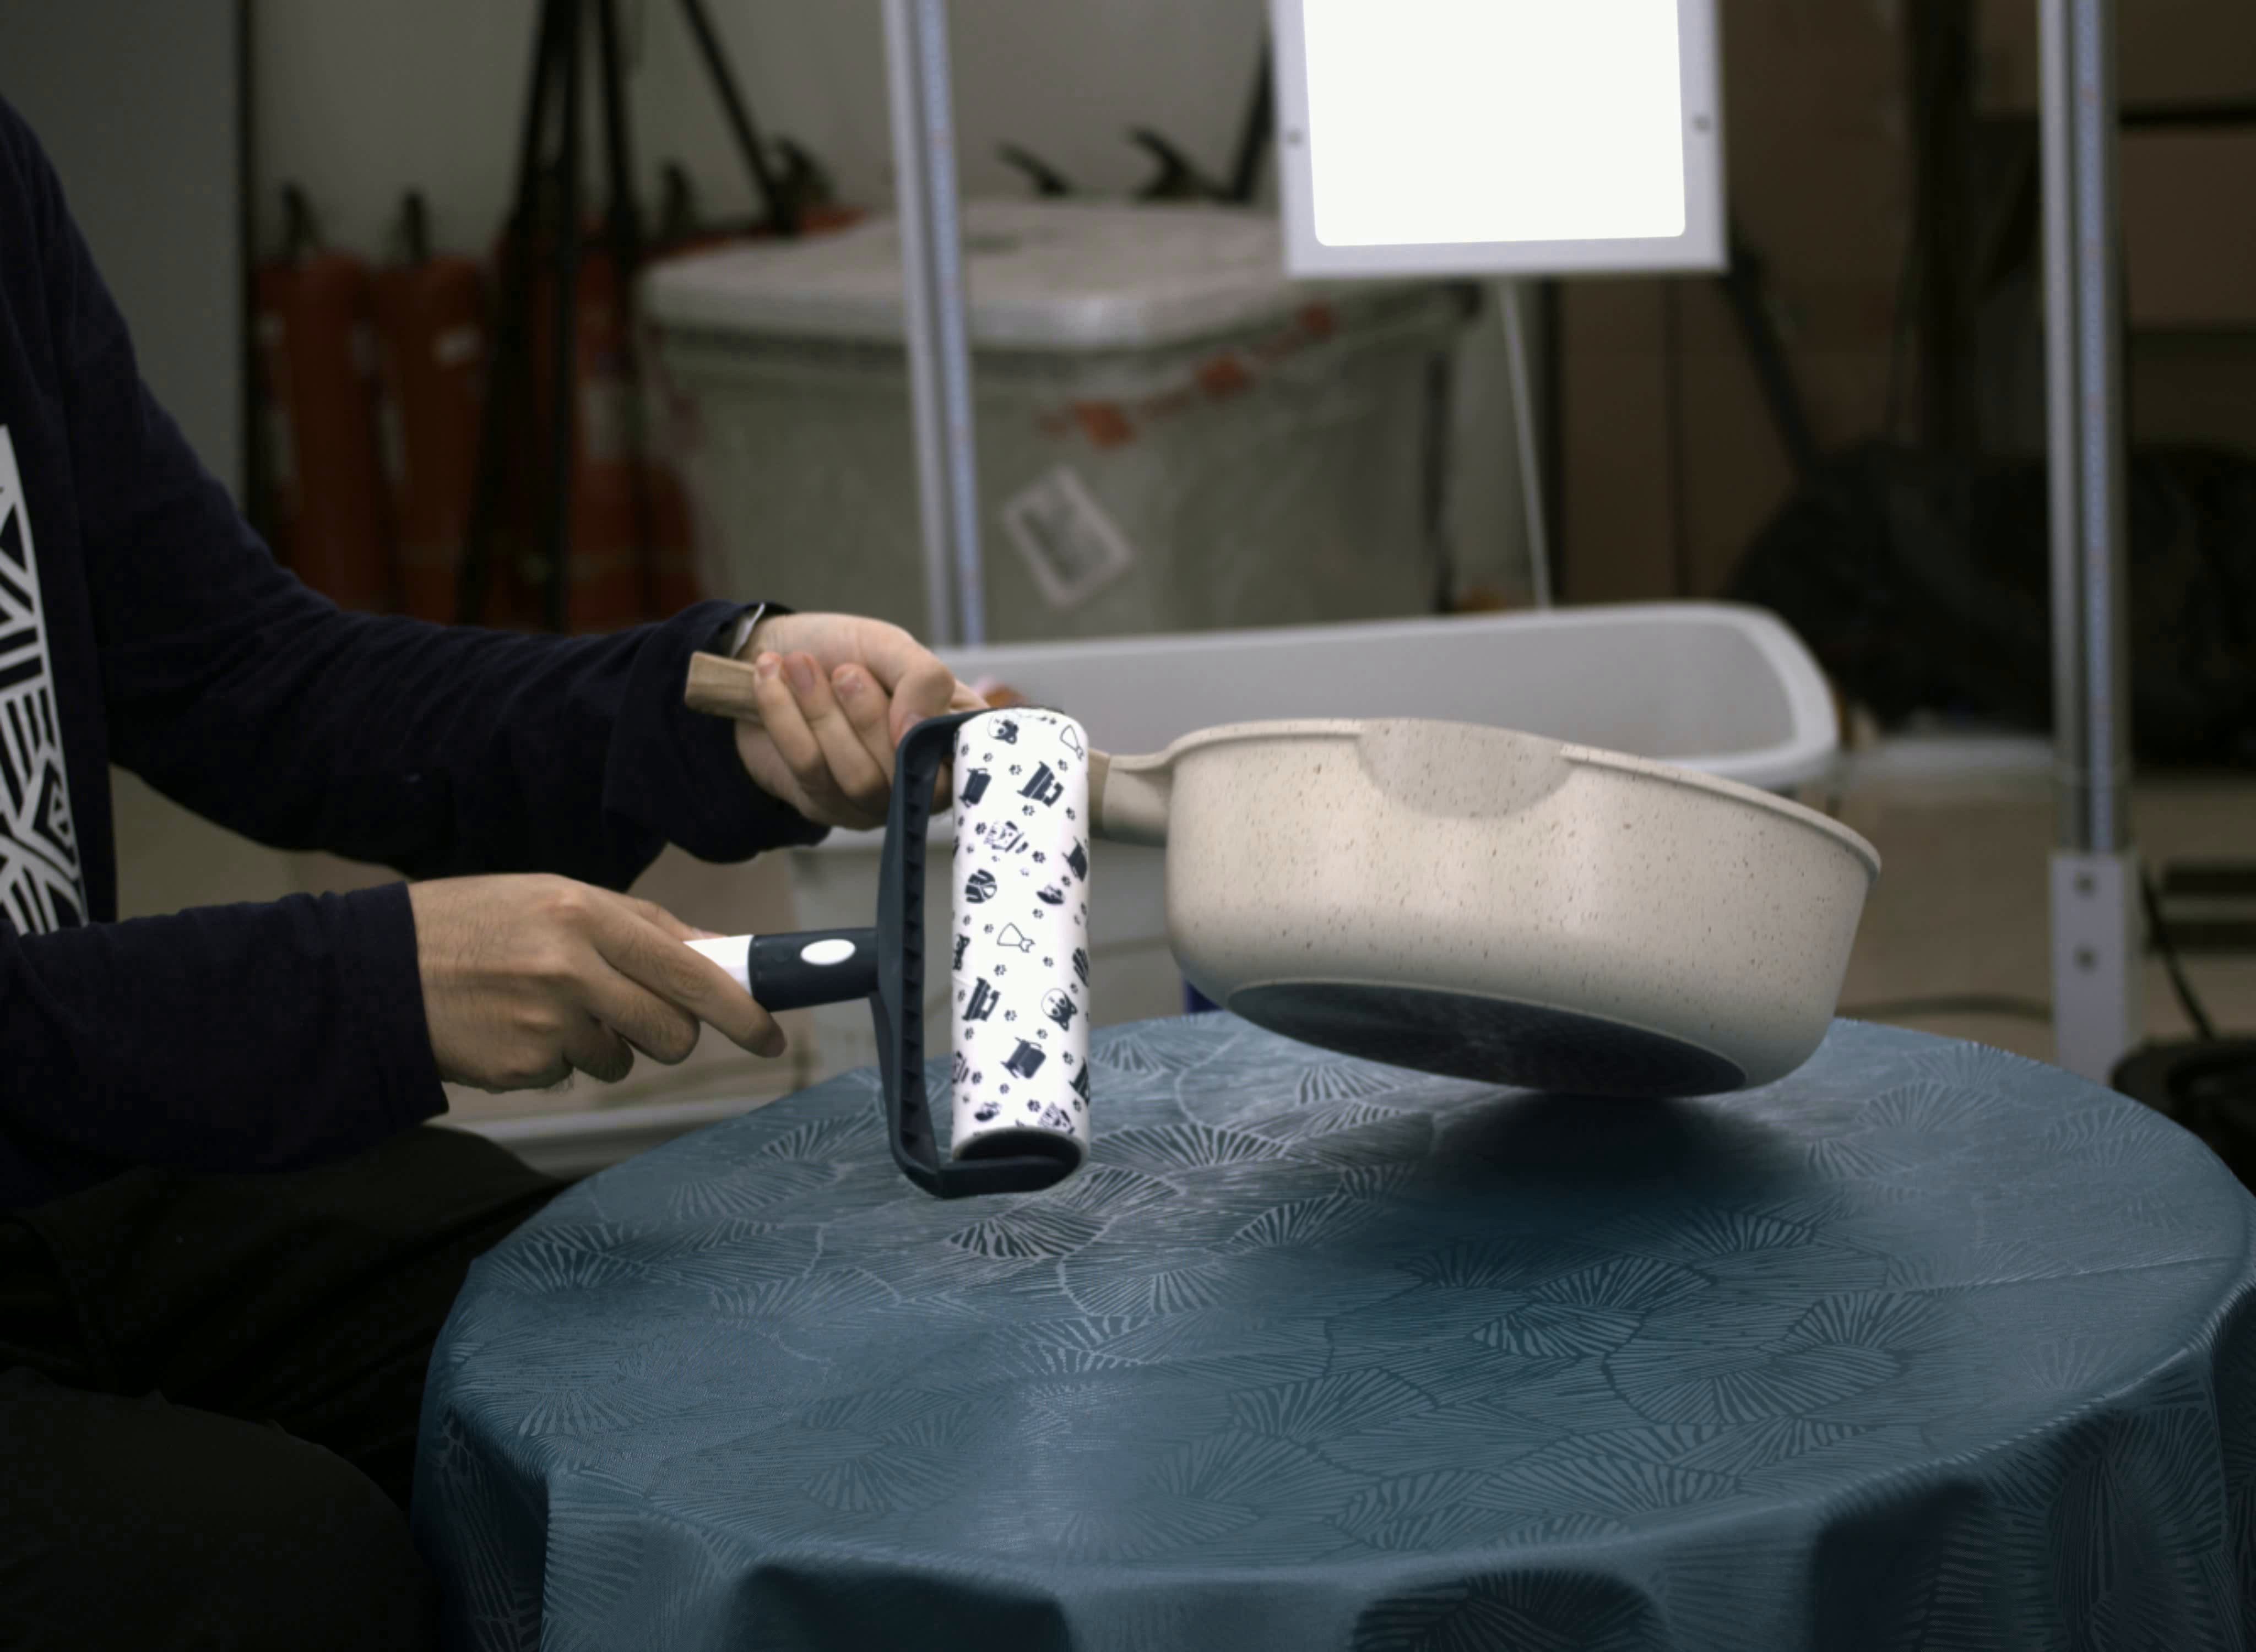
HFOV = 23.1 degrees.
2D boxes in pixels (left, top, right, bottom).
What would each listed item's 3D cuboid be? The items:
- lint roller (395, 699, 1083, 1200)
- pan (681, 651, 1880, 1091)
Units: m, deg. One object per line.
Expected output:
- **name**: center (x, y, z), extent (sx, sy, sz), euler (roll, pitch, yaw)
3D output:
- **lint roller**: center (-0.136, 0.053, 1.893), extent (0.249, 0.176, 0.050), euler (-8, -27, 12)
- **pan**: center (0.043, 0.015, 1.926), extent (0.439, 0.102, 0.261), euler (8, -9, 15)
